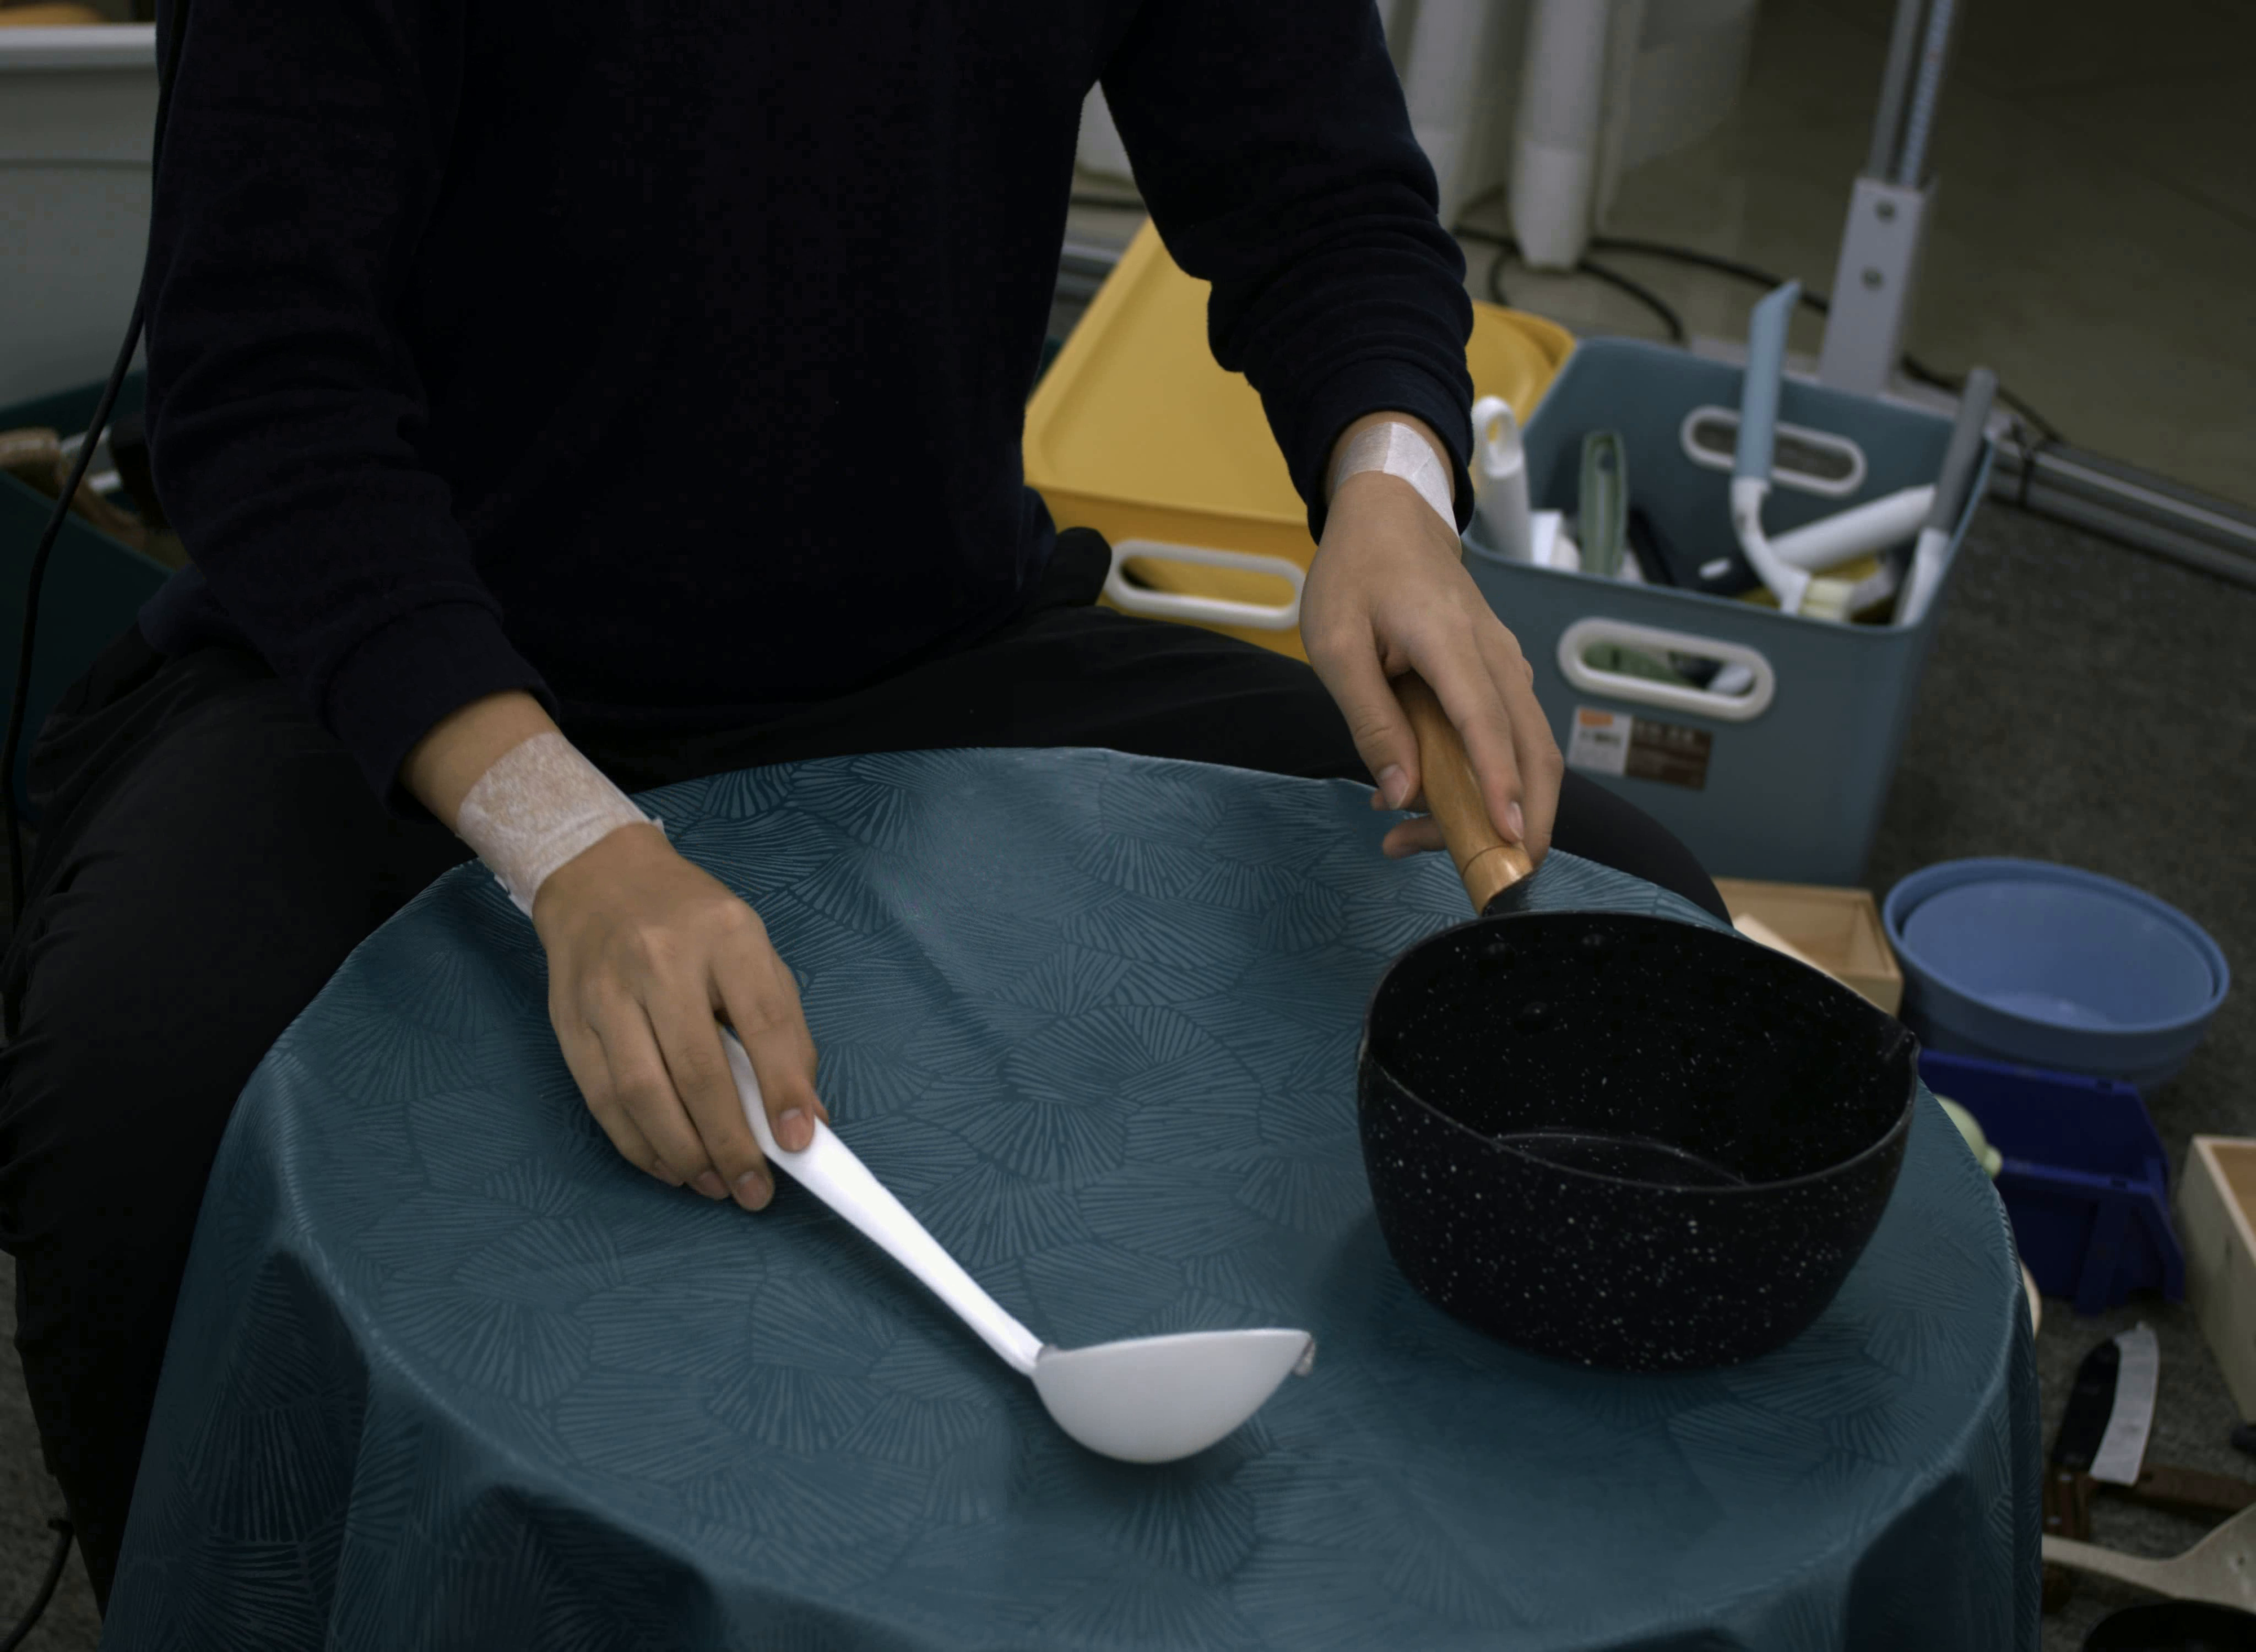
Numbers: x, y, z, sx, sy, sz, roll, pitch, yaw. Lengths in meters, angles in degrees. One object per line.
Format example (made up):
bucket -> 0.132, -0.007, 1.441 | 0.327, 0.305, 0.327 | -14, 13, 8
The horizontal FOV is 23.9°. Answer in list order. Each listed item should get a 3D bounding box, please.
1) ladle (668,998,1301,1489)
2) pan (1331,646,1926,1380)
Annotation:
ladle -> -0.057, 0.123, 1.718 | 0.089, 0.070, 0.295 | -2, 29, -39
pan -> 0.143, 0.061, 1.838 | 0.206, 0.108, 0.346 | -4, 30, -18
